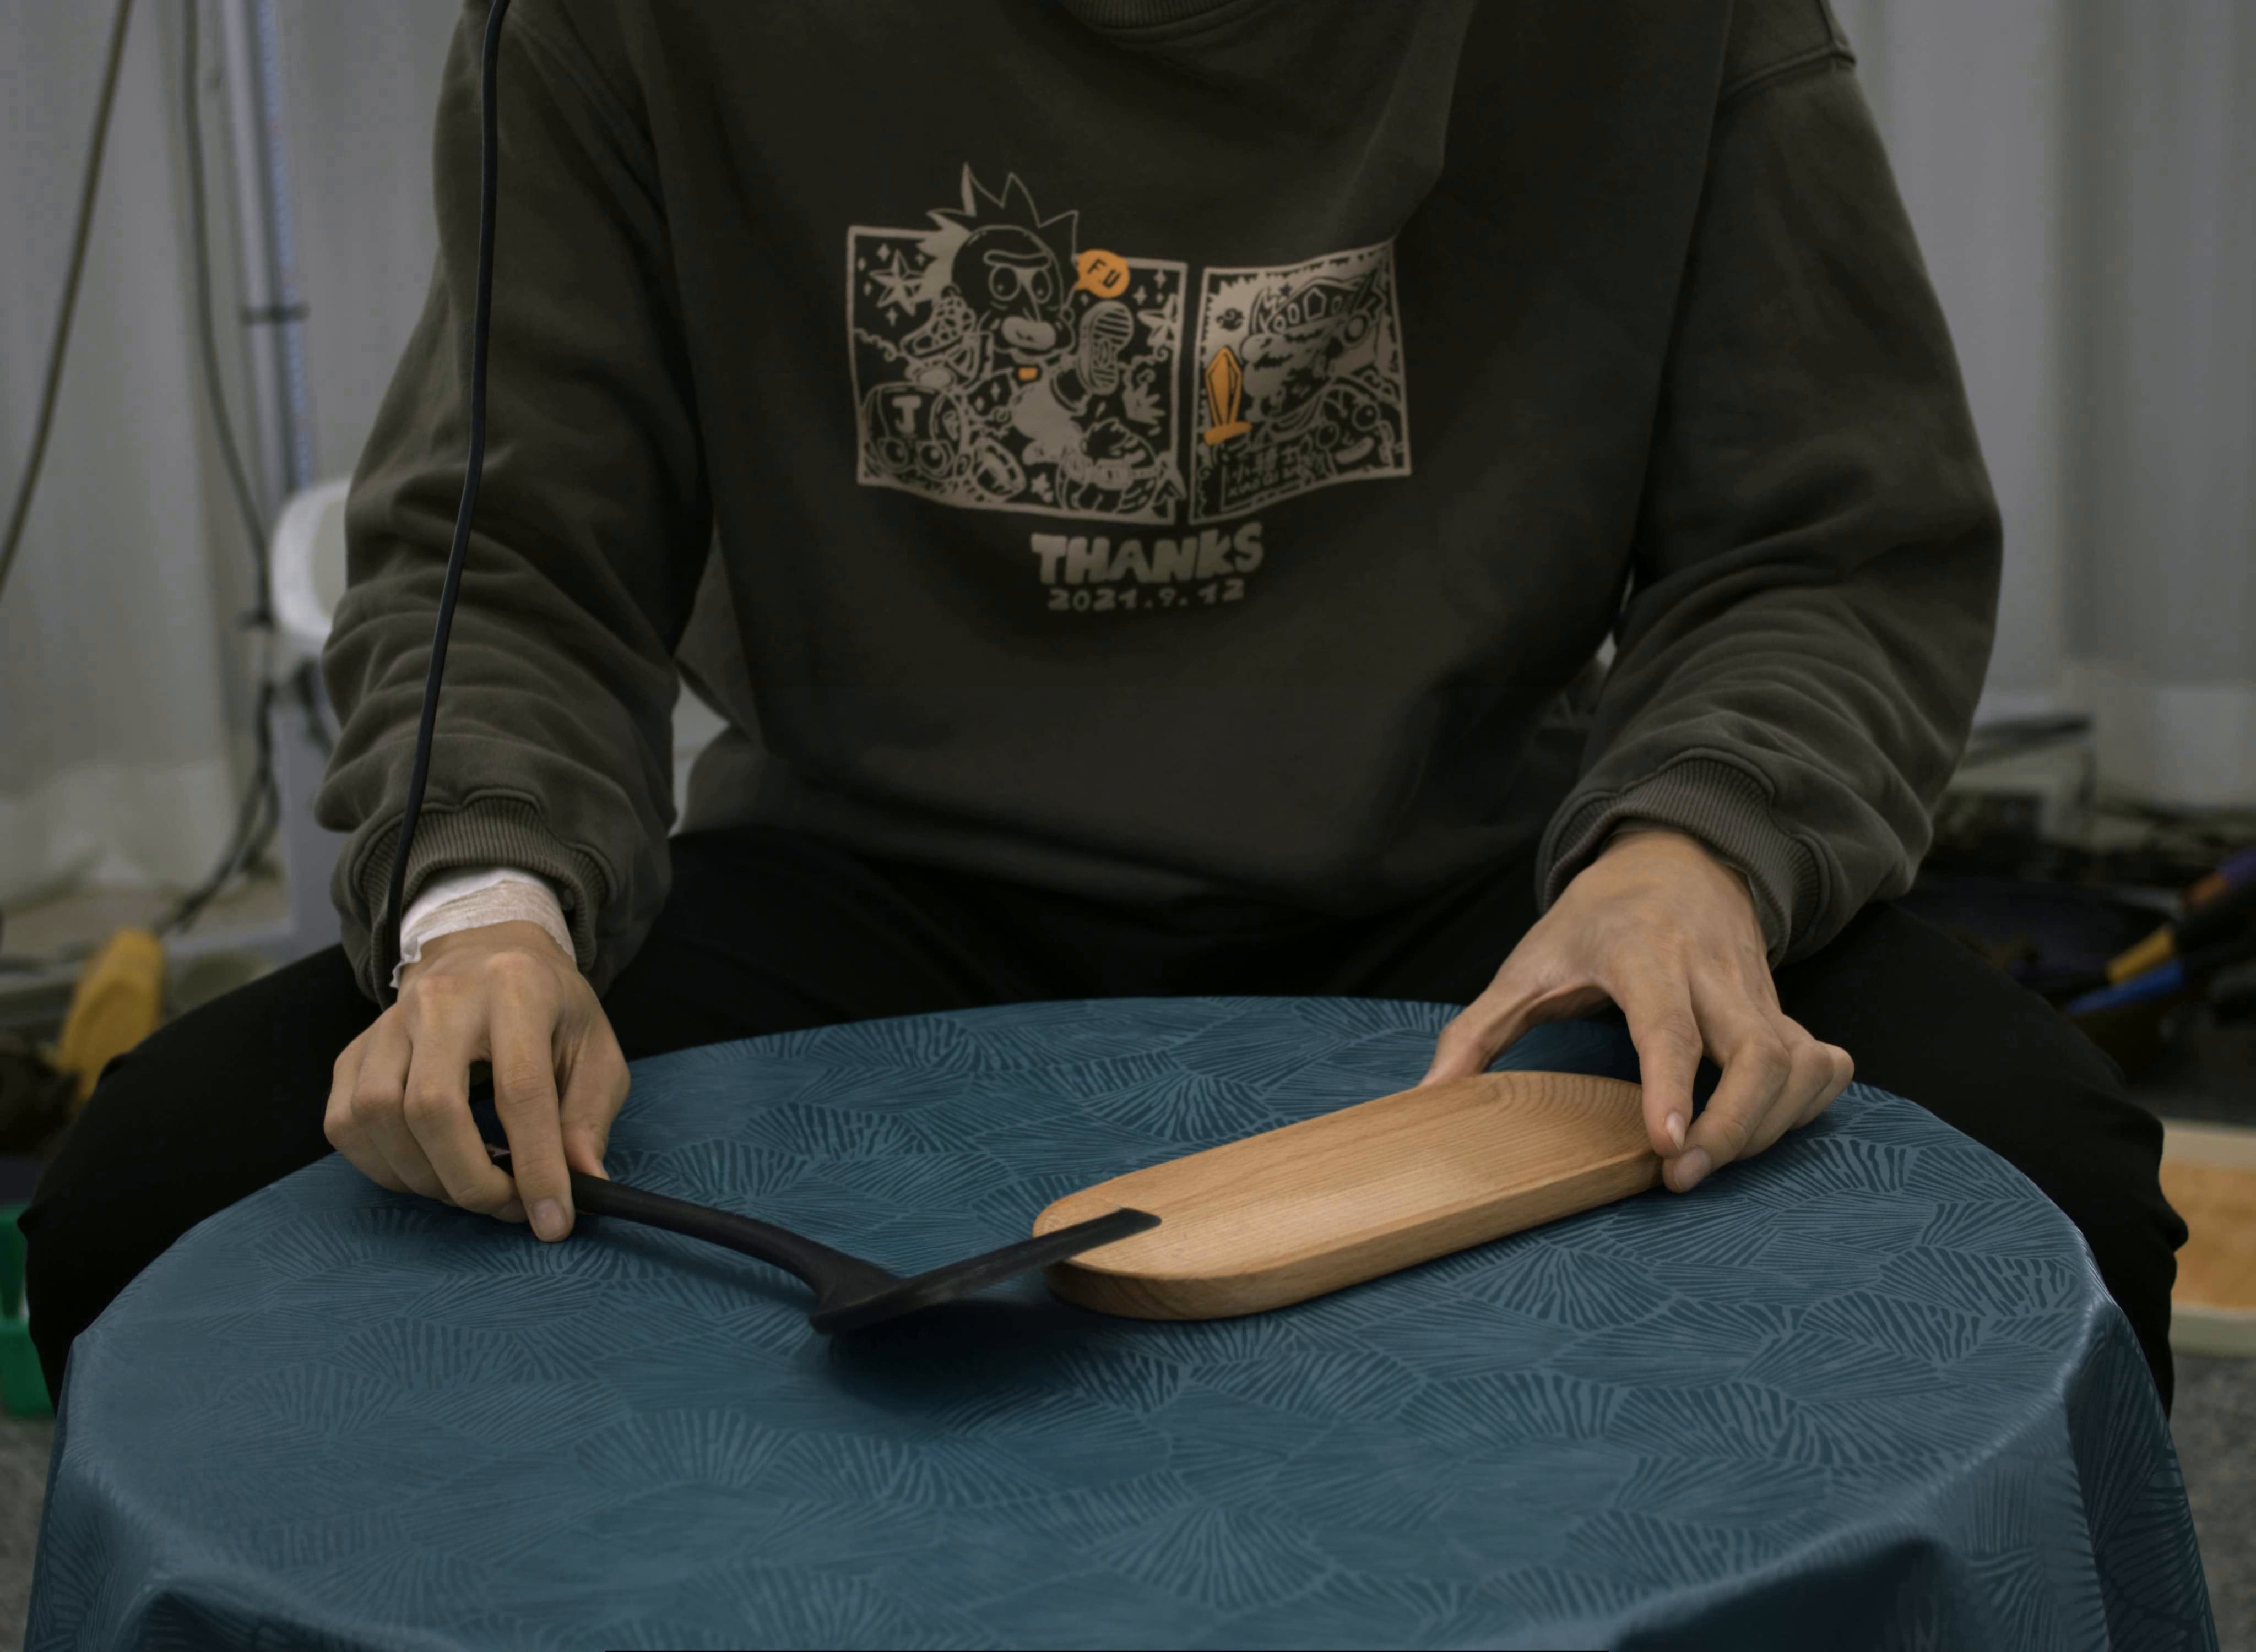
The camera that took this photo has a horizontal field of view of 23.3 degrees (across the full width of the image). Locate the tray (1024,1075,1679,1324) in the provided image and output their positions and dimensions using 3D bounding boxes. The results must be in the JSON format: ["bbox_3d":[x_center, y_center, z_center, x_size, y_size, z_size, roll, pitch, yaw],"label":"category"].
[{"bbox_3d":[0.071,0.114,1.681,0.230,0.020,0.102,-15,19,-35],"label":"tray"}]

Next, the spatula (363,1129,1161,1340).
[{"bbox_3d":[-0.132,0.115,1.671,0.099,0.040,0.328,-13,19,-43],"label":"spatula"}]
